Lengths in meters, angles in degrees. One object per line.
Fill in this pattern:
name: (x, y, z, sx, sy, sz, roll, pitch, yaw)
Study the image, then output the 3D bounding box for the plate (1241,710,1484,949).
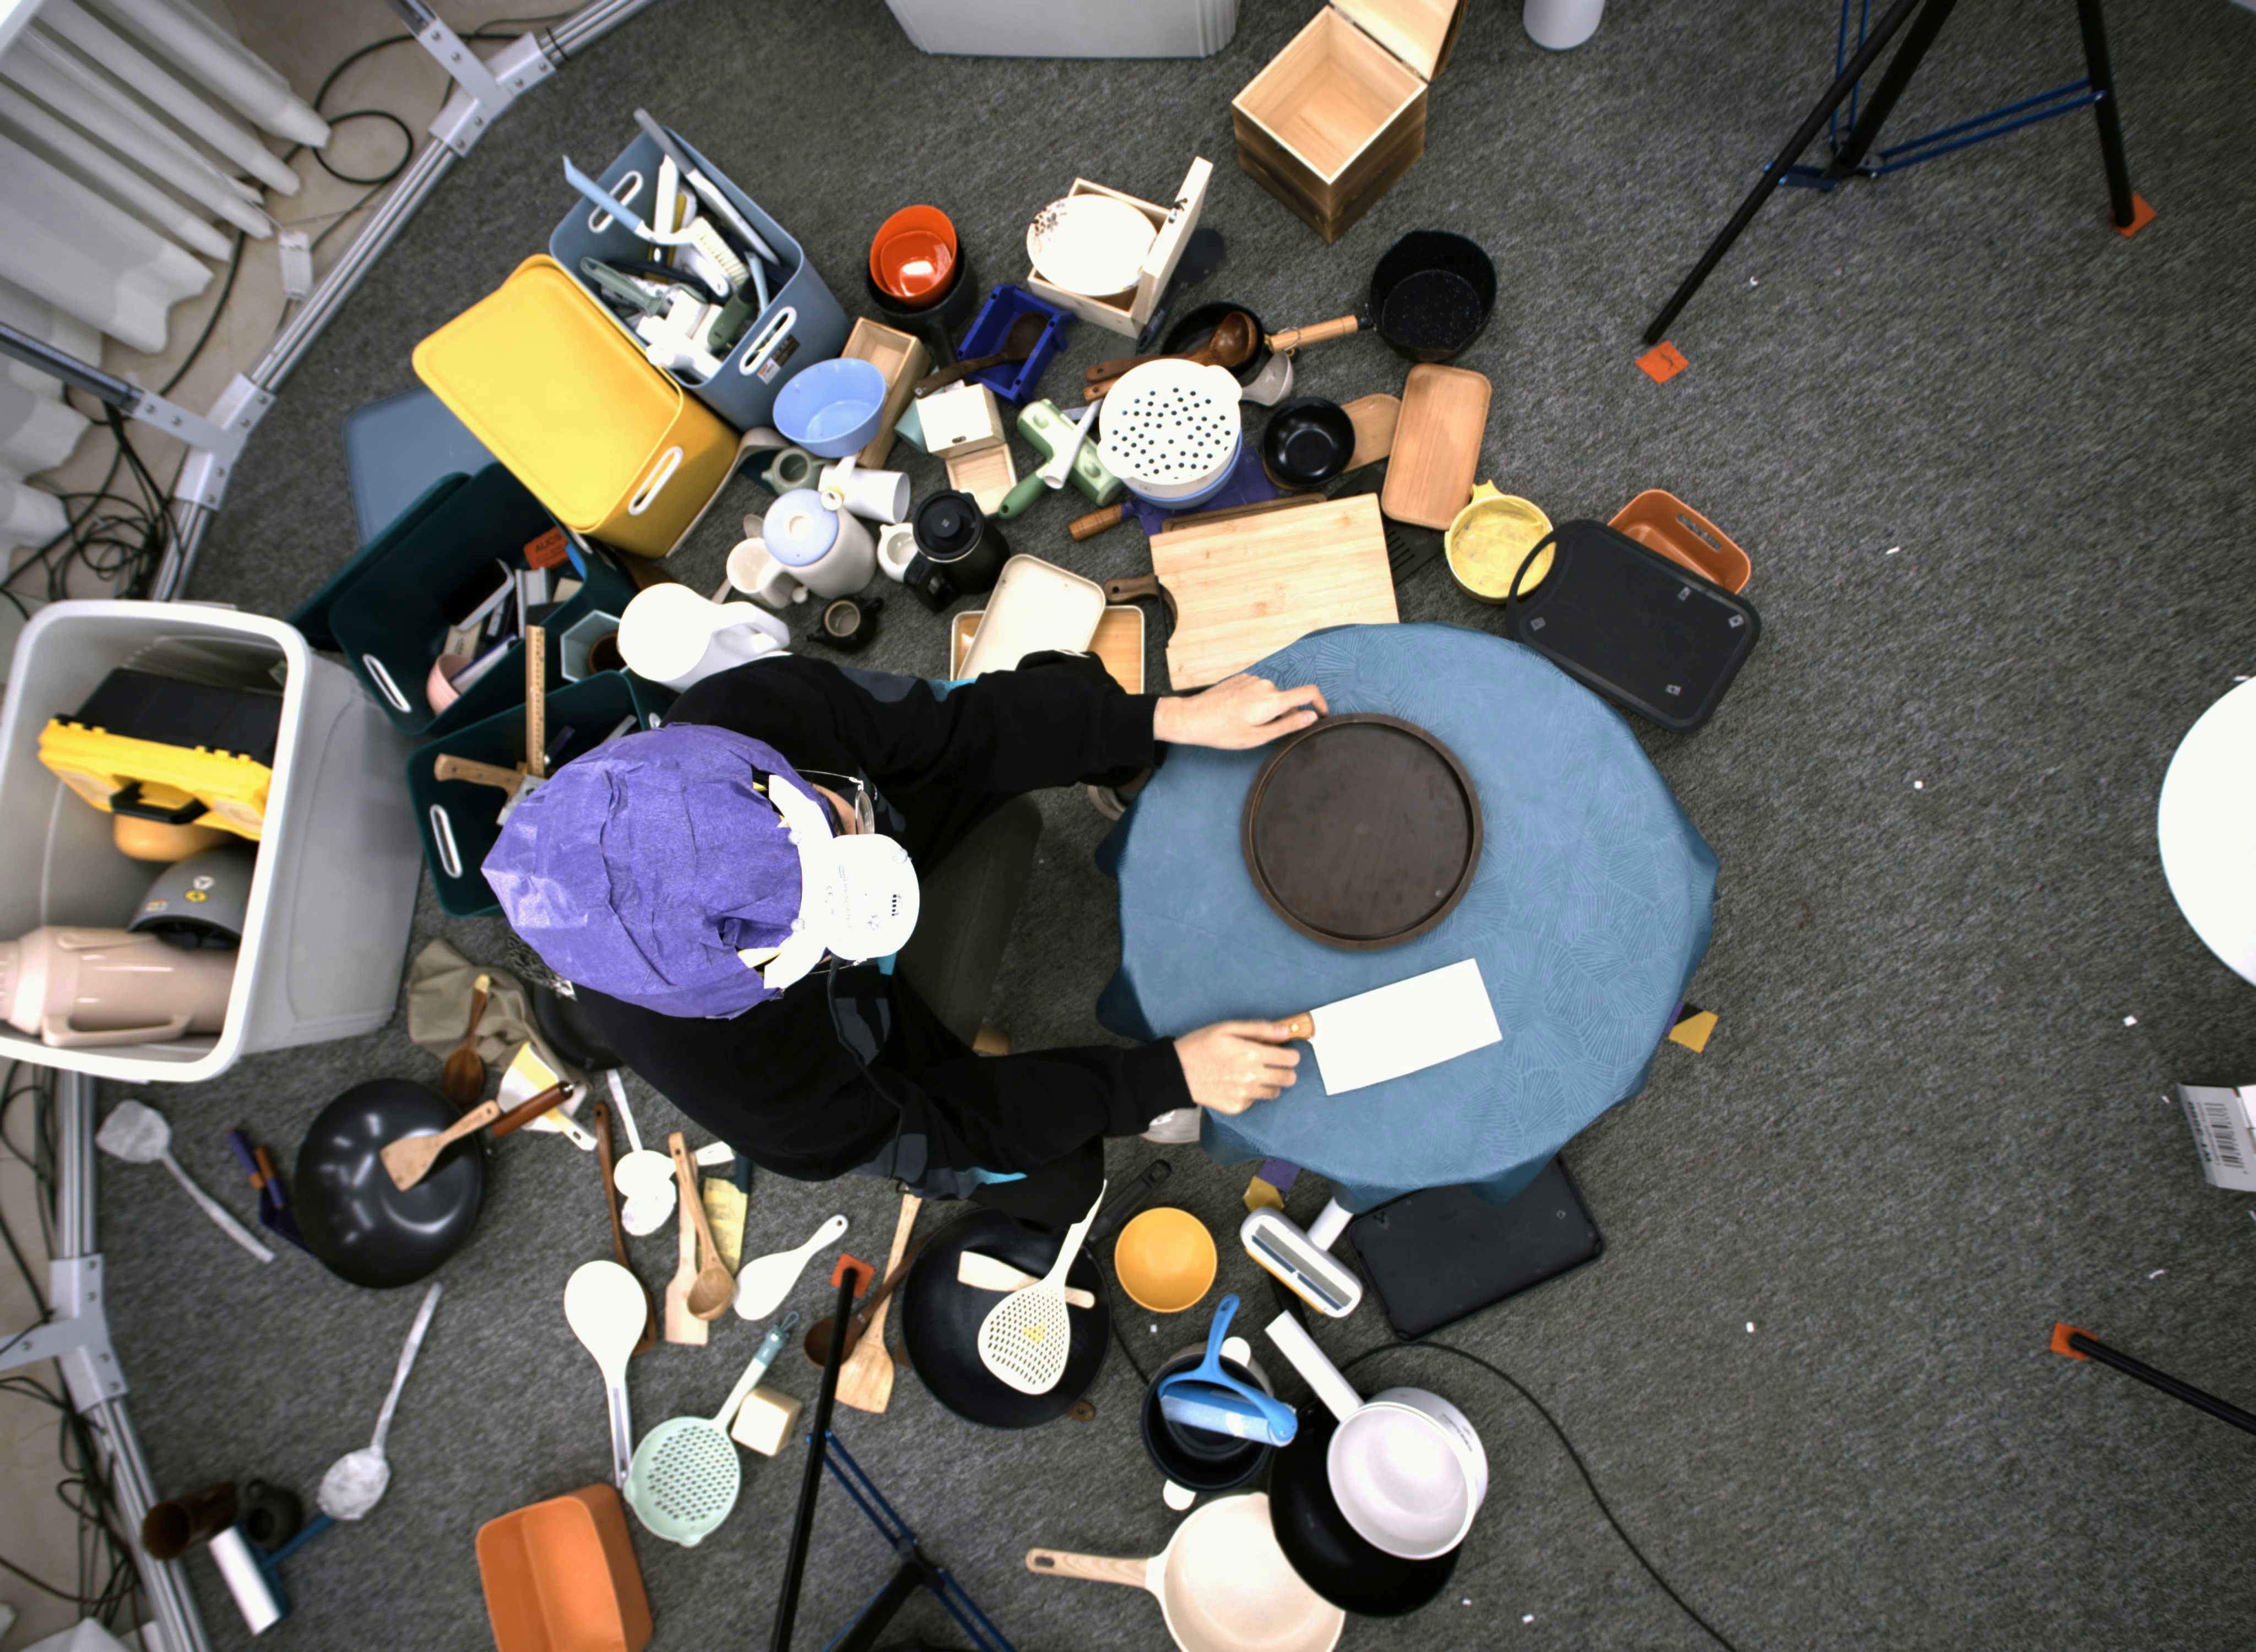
plate: (0.246, 0.003, 1.455, 0.256, 0.029, 0.253, -1, 85, 10)

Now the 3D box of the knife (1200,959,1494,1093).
knife: (0.231, 0.225, 1.451, 0.307, 0.021, 0.092, -19, 85, 7)
